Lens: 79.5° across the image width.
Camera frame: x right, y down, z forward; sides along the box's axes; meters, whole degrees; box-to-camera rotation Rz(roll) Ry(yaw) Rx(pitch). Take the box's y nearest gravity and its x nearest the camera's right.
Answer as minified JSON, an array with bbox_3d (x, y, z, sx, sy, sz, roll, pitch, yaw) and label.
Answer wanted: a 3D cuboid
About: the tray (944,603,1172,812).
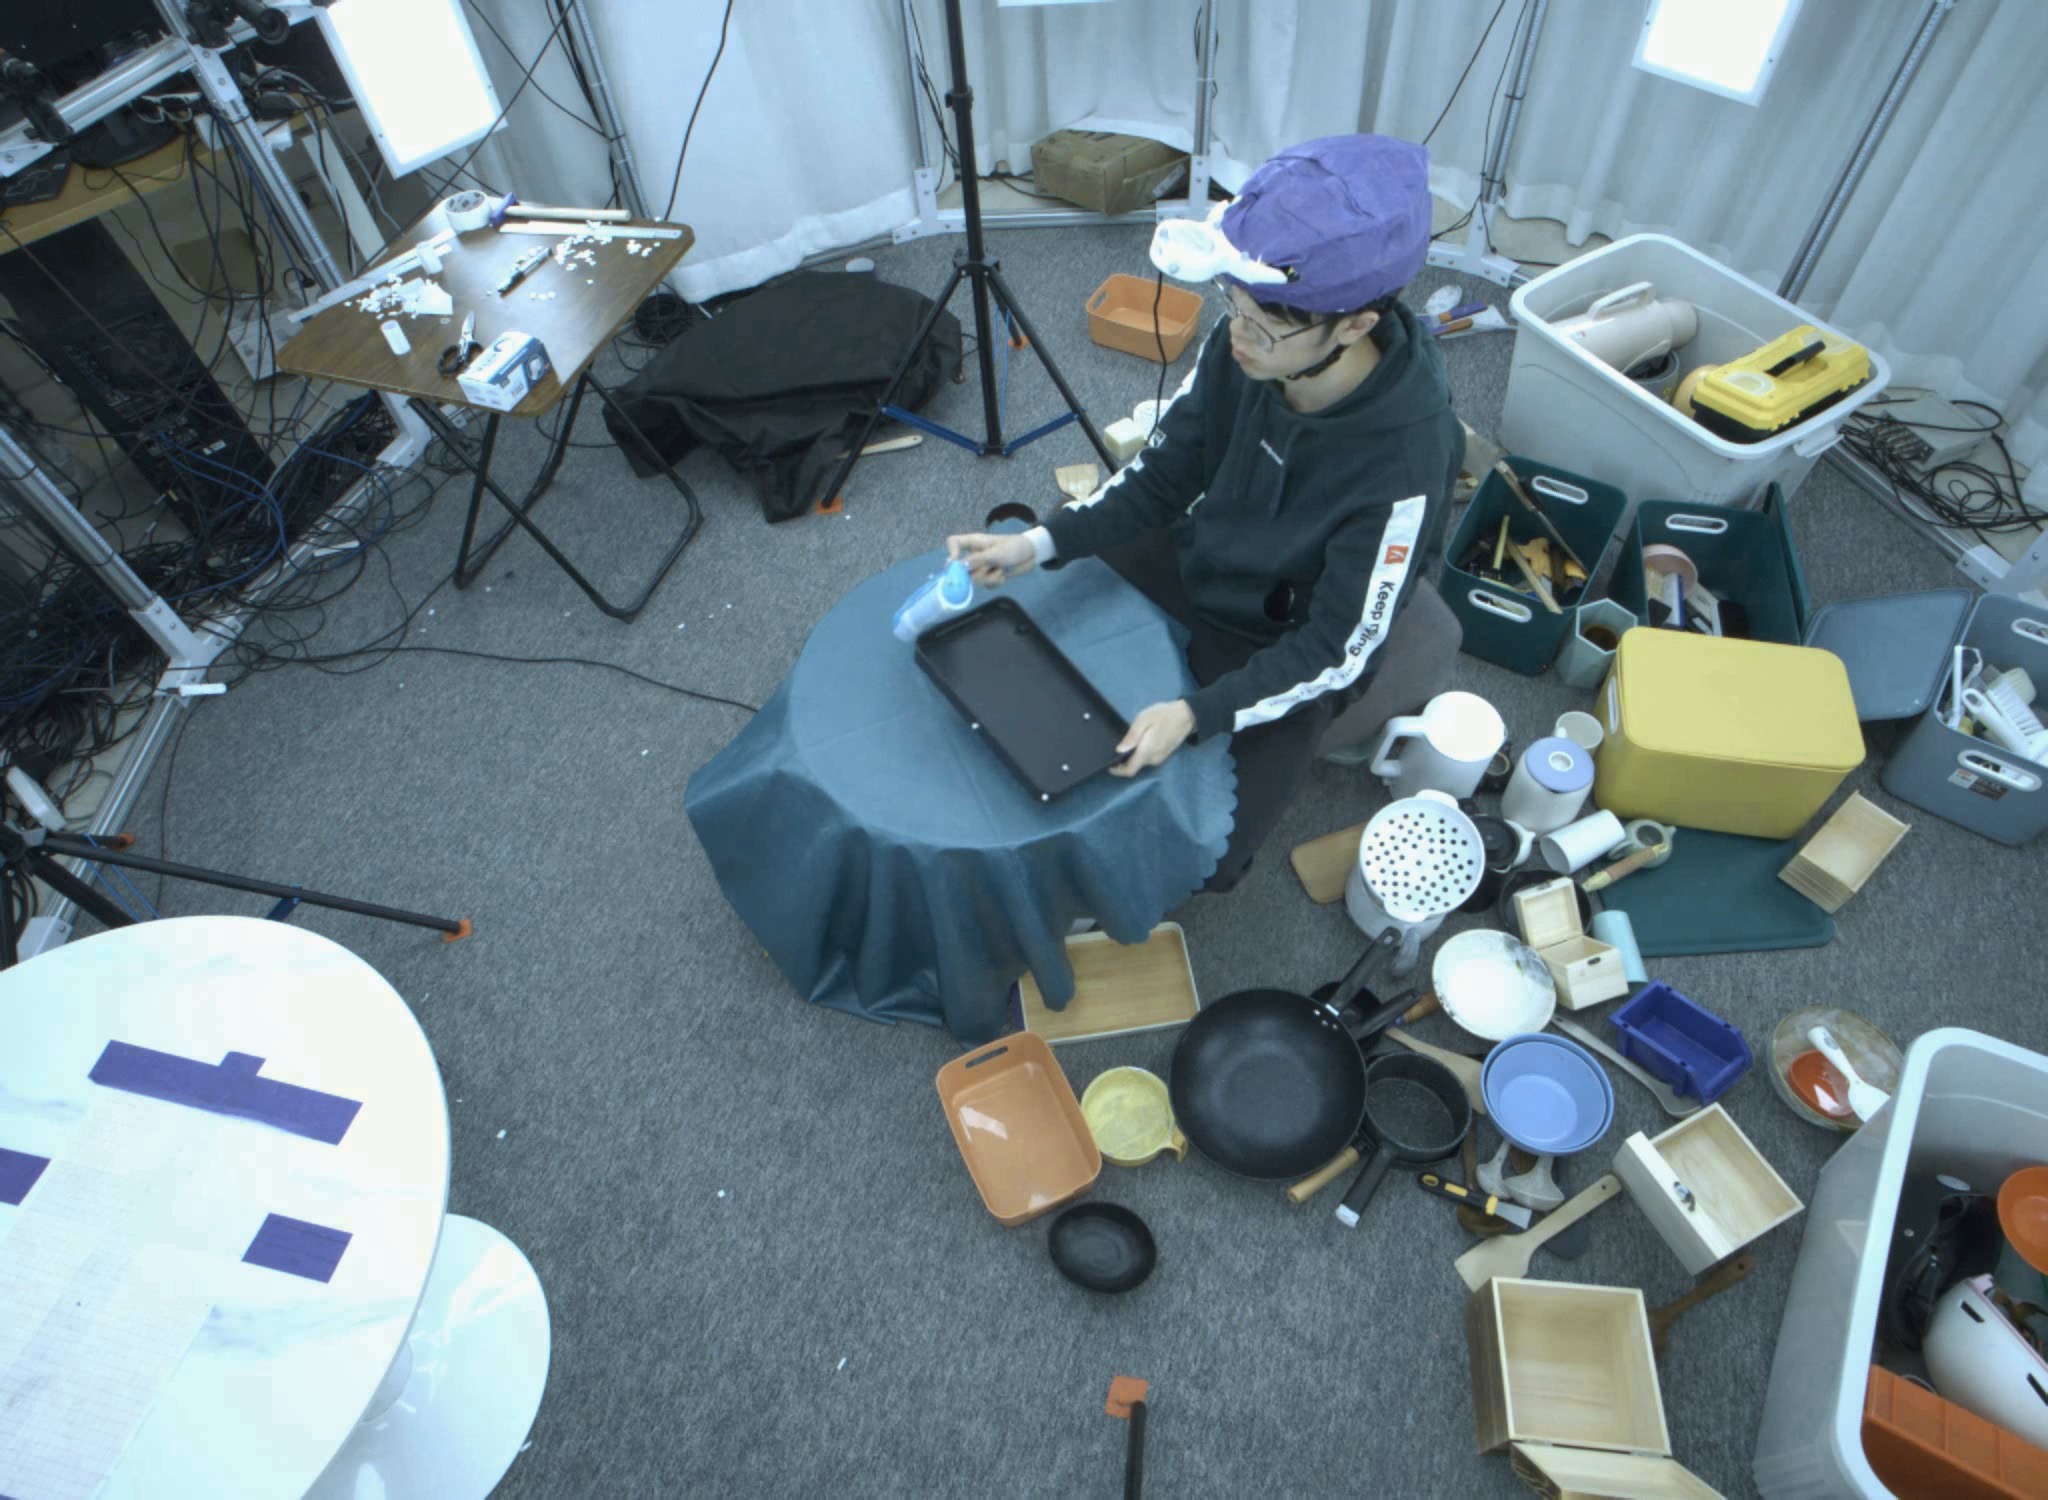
[{"bbox_3d":[0.044,-0.066,1.728,0.186,0.037,0.313,-29,67,-31],"label":"tray"}]

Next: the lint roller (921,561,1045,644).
[{"bbox_3d":[-0.053,-0.237,1.798,0.181,0.226,0.068,-40,97,-27],"label":"lint roller"}]
